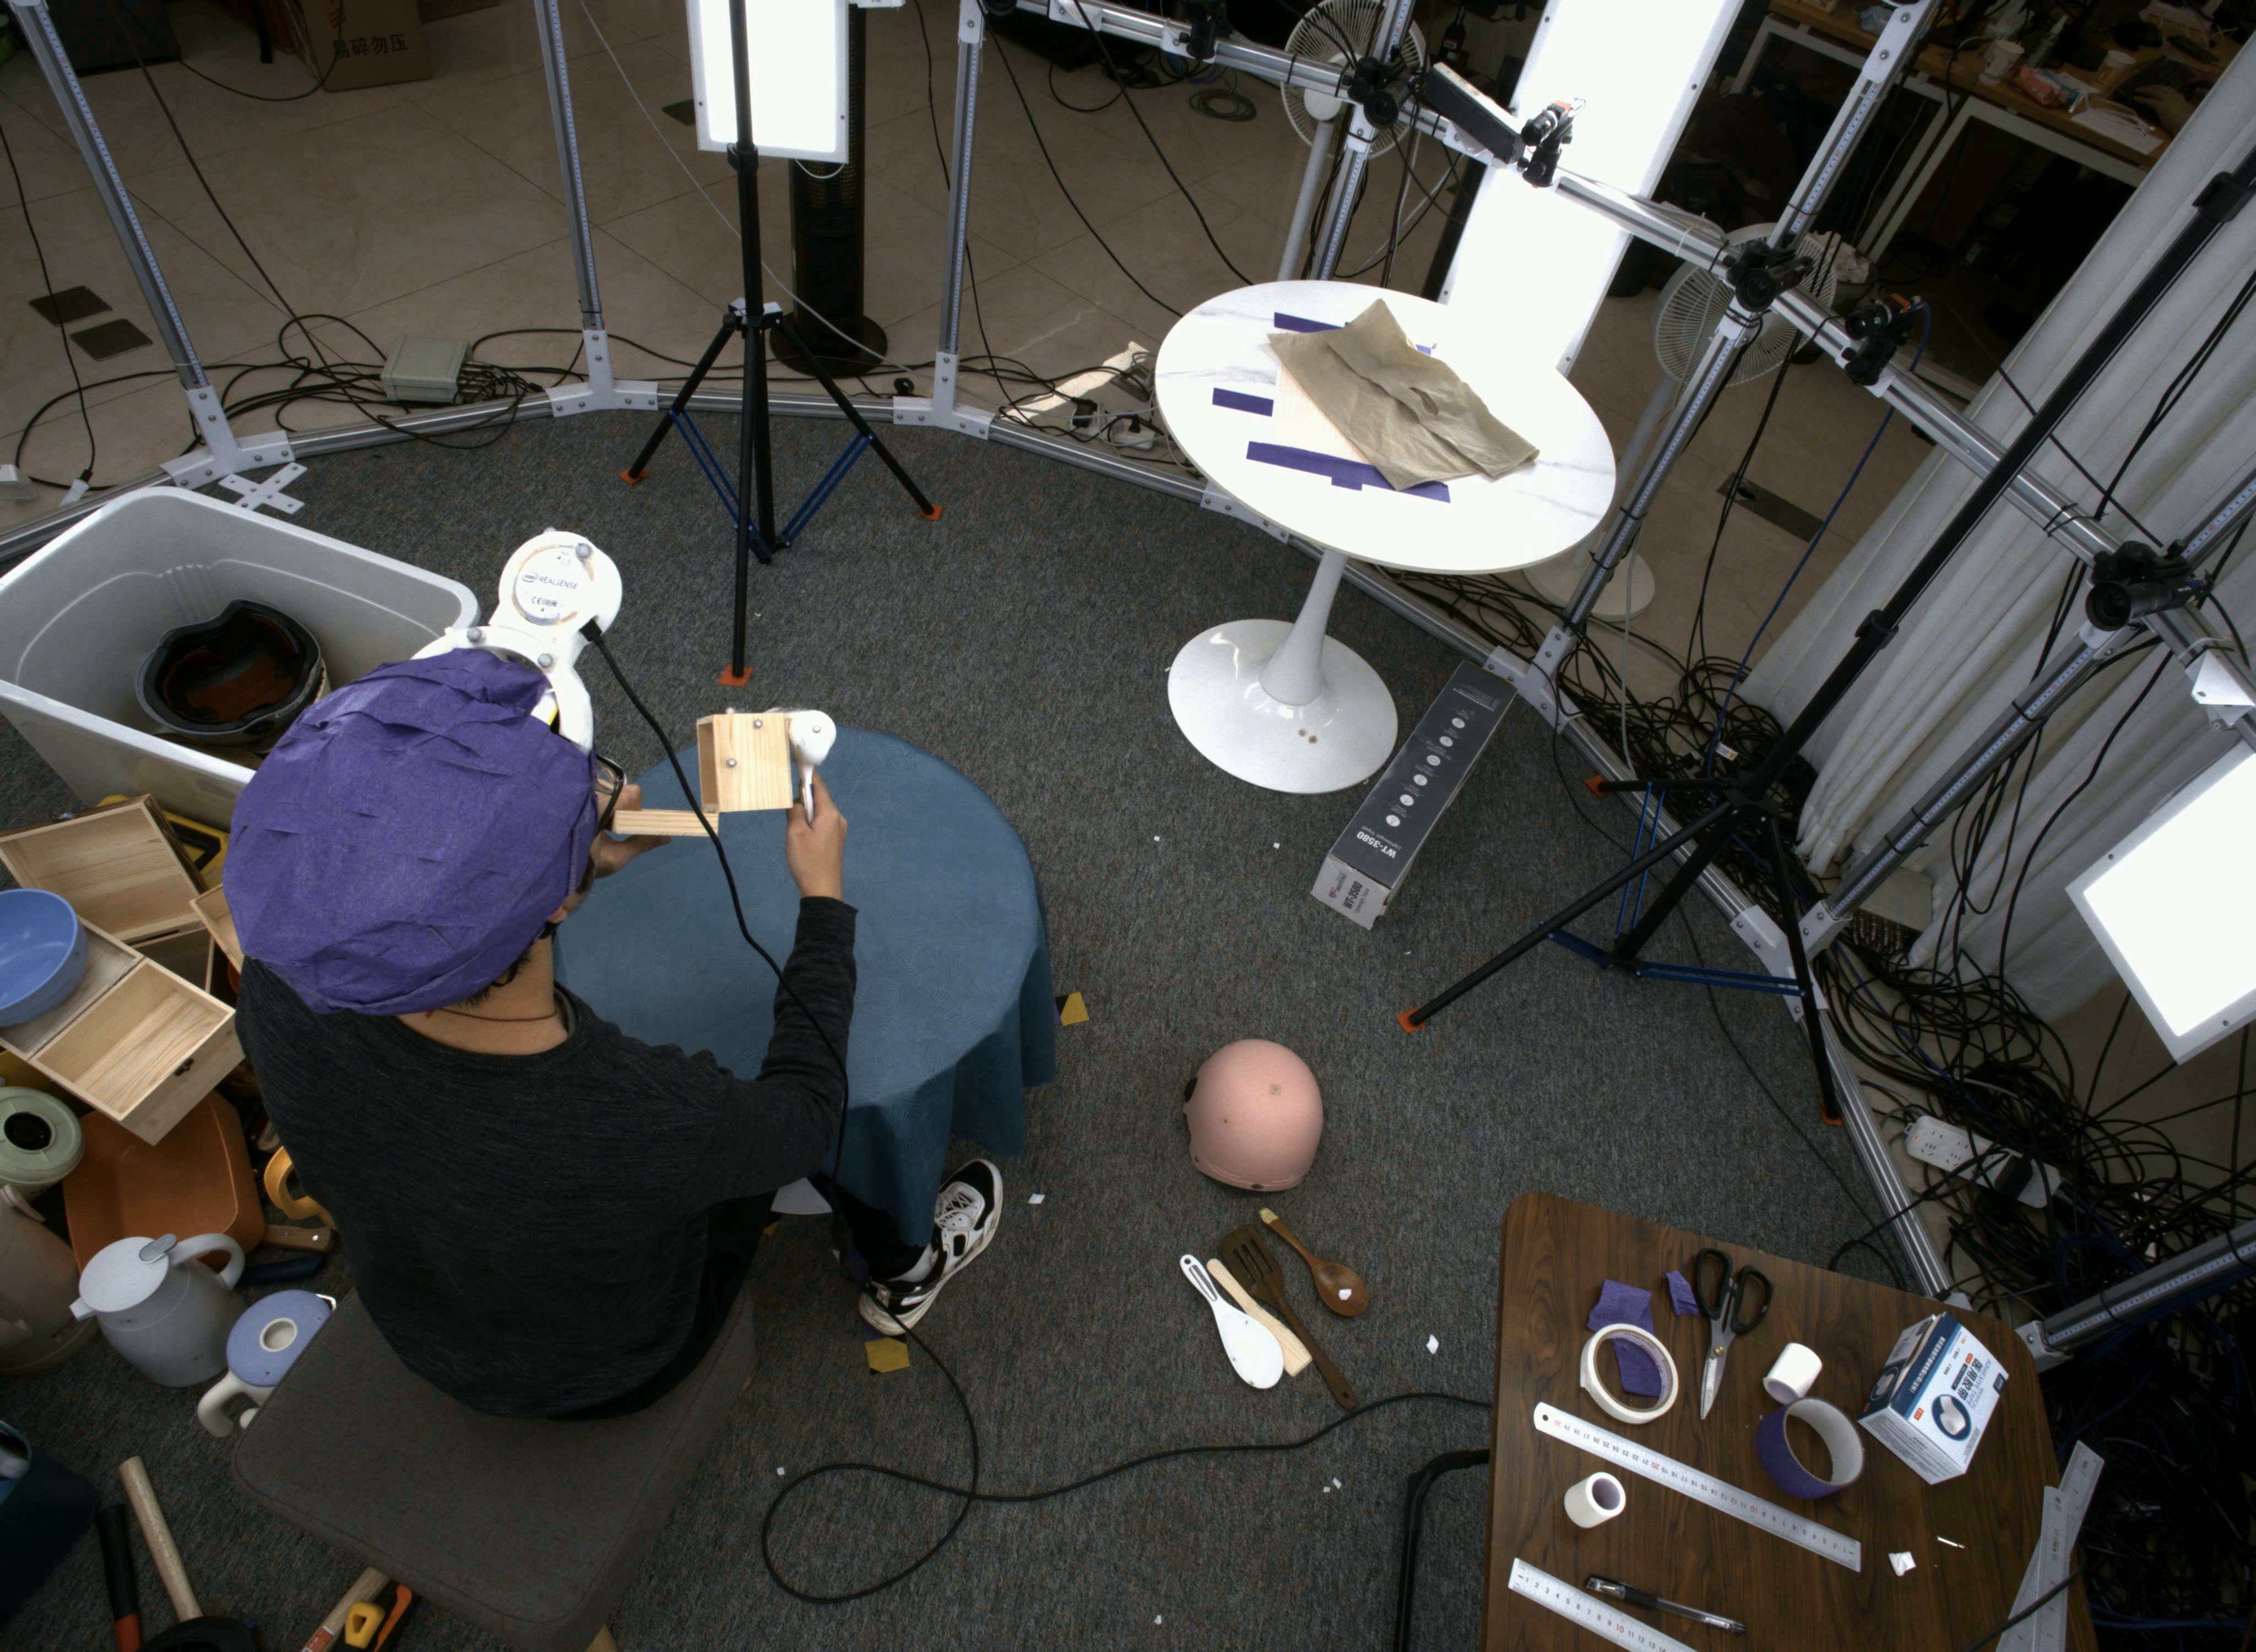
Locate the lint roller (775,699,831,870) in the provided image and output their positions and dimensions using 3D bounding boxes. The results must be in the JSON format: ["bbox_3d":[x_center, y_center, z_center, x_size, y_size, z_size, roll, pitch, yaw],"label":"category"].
[{"bbox_3d":[-0.342,-0.046,1.395,0.050,0.129,0.185,-17,103,-27],"label":"lint roller"}]

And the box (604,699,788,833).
[{"bbox_3d":[-0.458,-0.064,1.343,0.186,0.100,0.136,-5,94,-29],"label":"box"}]
